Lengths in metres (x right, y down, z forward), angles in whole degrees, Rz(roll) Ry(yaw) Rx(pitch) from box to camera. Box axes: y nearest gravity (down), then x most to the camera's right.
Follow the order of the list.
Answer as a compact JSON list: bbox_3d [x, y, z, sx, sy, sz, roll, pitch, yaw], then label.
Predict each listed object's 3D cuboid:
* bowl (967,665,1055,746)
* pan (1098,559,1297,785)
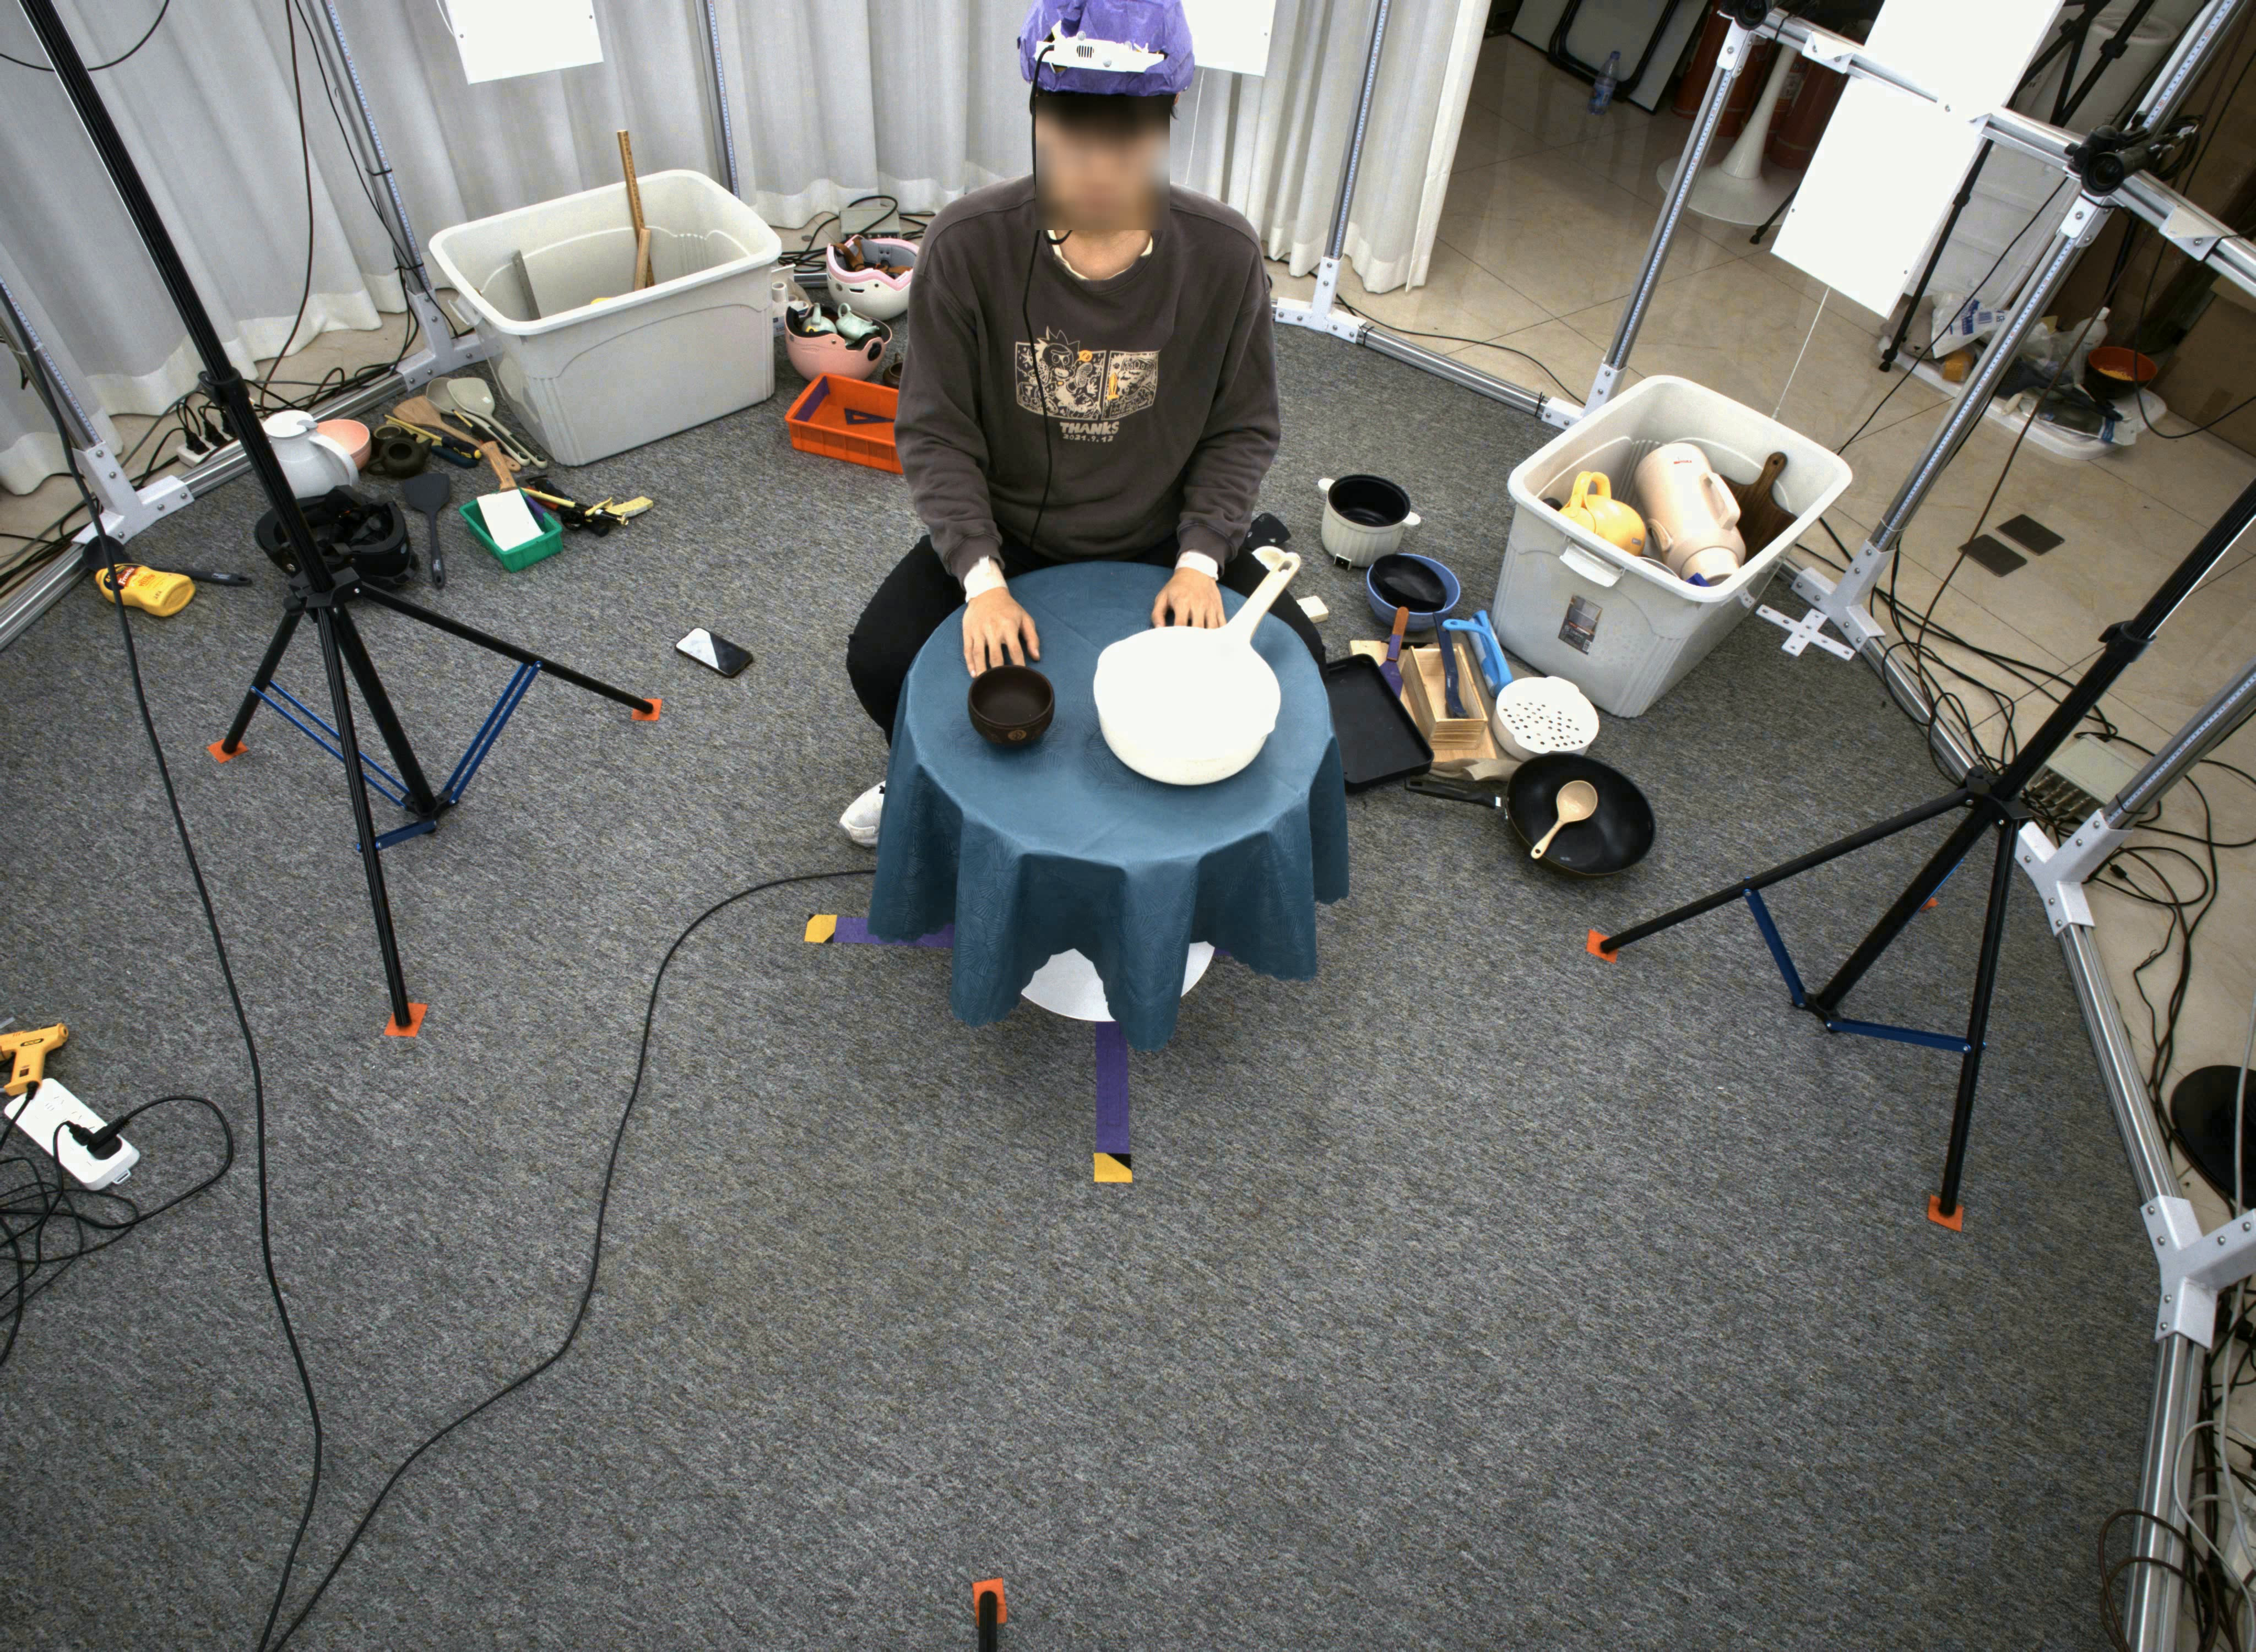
[{"bbox_3d":[-0.158,-0.156,1.745,0.118,0.068,0.121,1,47,-1],"label":"bowl"},{"bbox_3d":[0.130,-0.220,1.802,0.266,0.099,0.441,25,51,19],"label":"pan"}]
